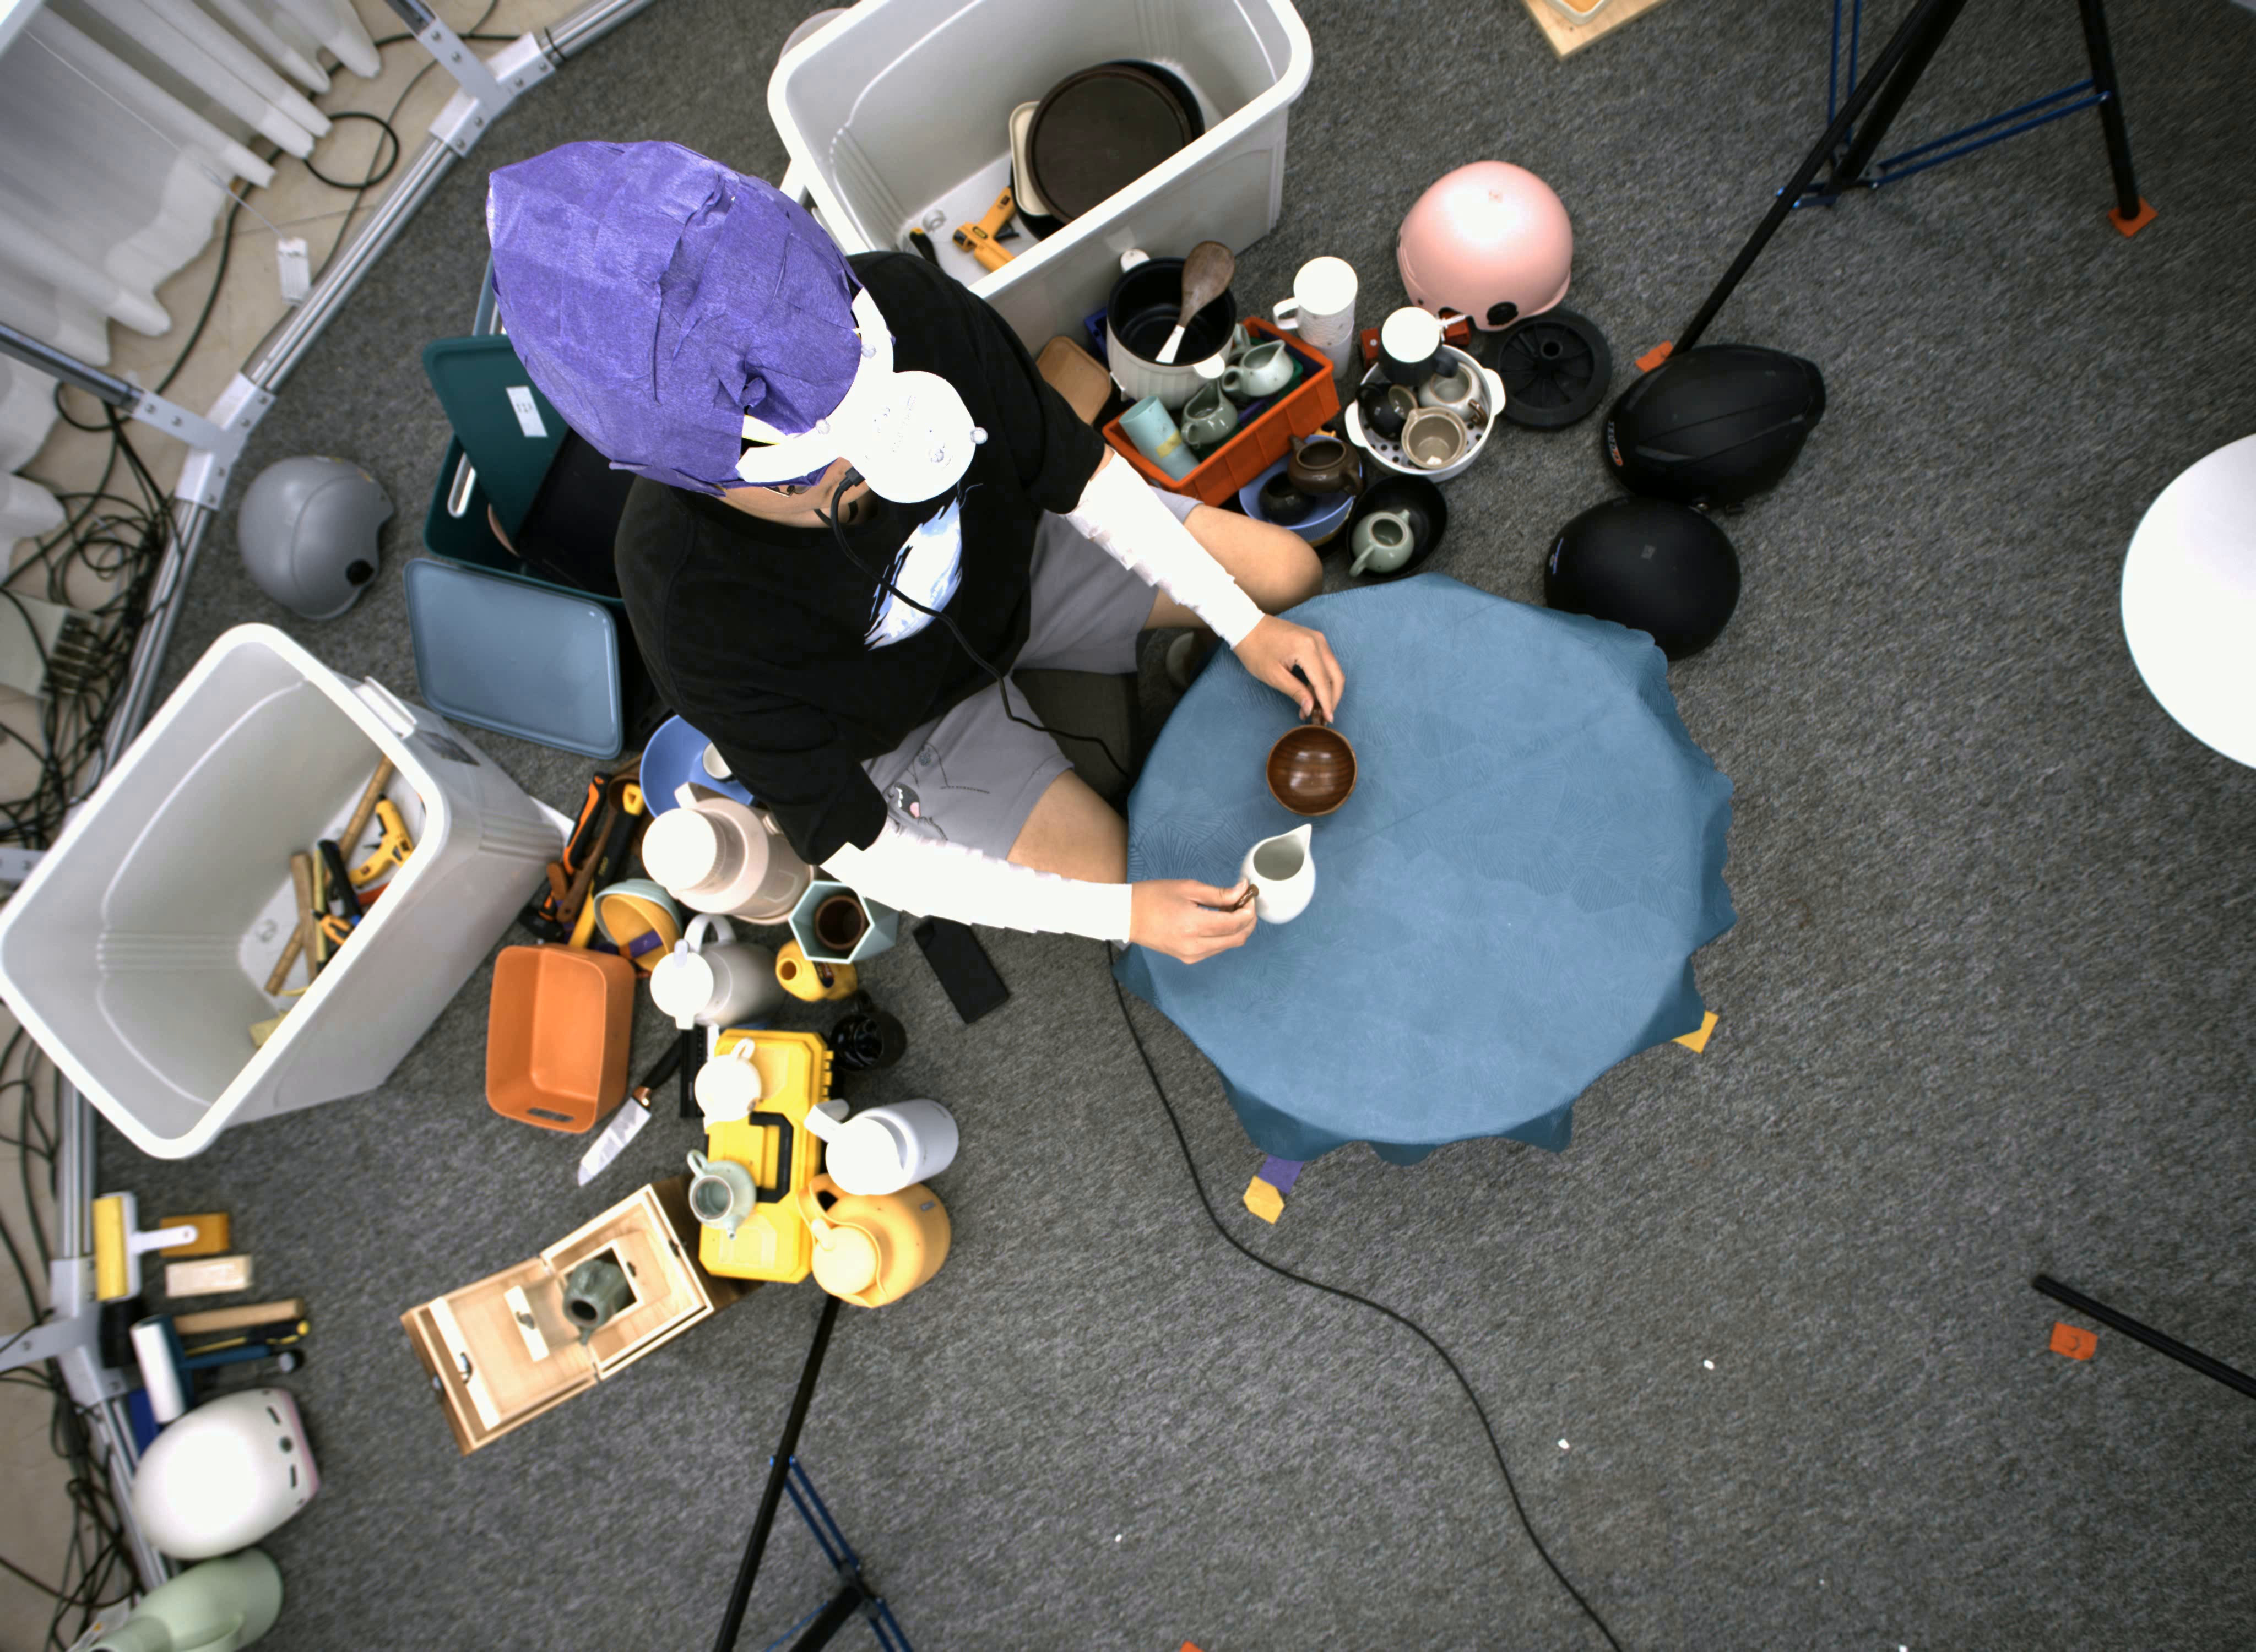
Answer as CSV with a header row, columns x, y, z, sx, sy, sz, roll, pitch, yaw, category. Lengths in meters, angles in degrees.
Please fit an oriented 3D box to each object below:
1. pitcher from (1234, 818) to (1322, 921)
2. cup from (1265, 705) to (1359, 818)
x,y,z,sx,sy,sz,roll,pitch,yaw,category
0.149,0.053,1.378,0.117,0.090,0.075,-36,56,-22,pitcher
0.197,-0.067,1.447,0.096,0.068,0.119,3,85,14,cup
